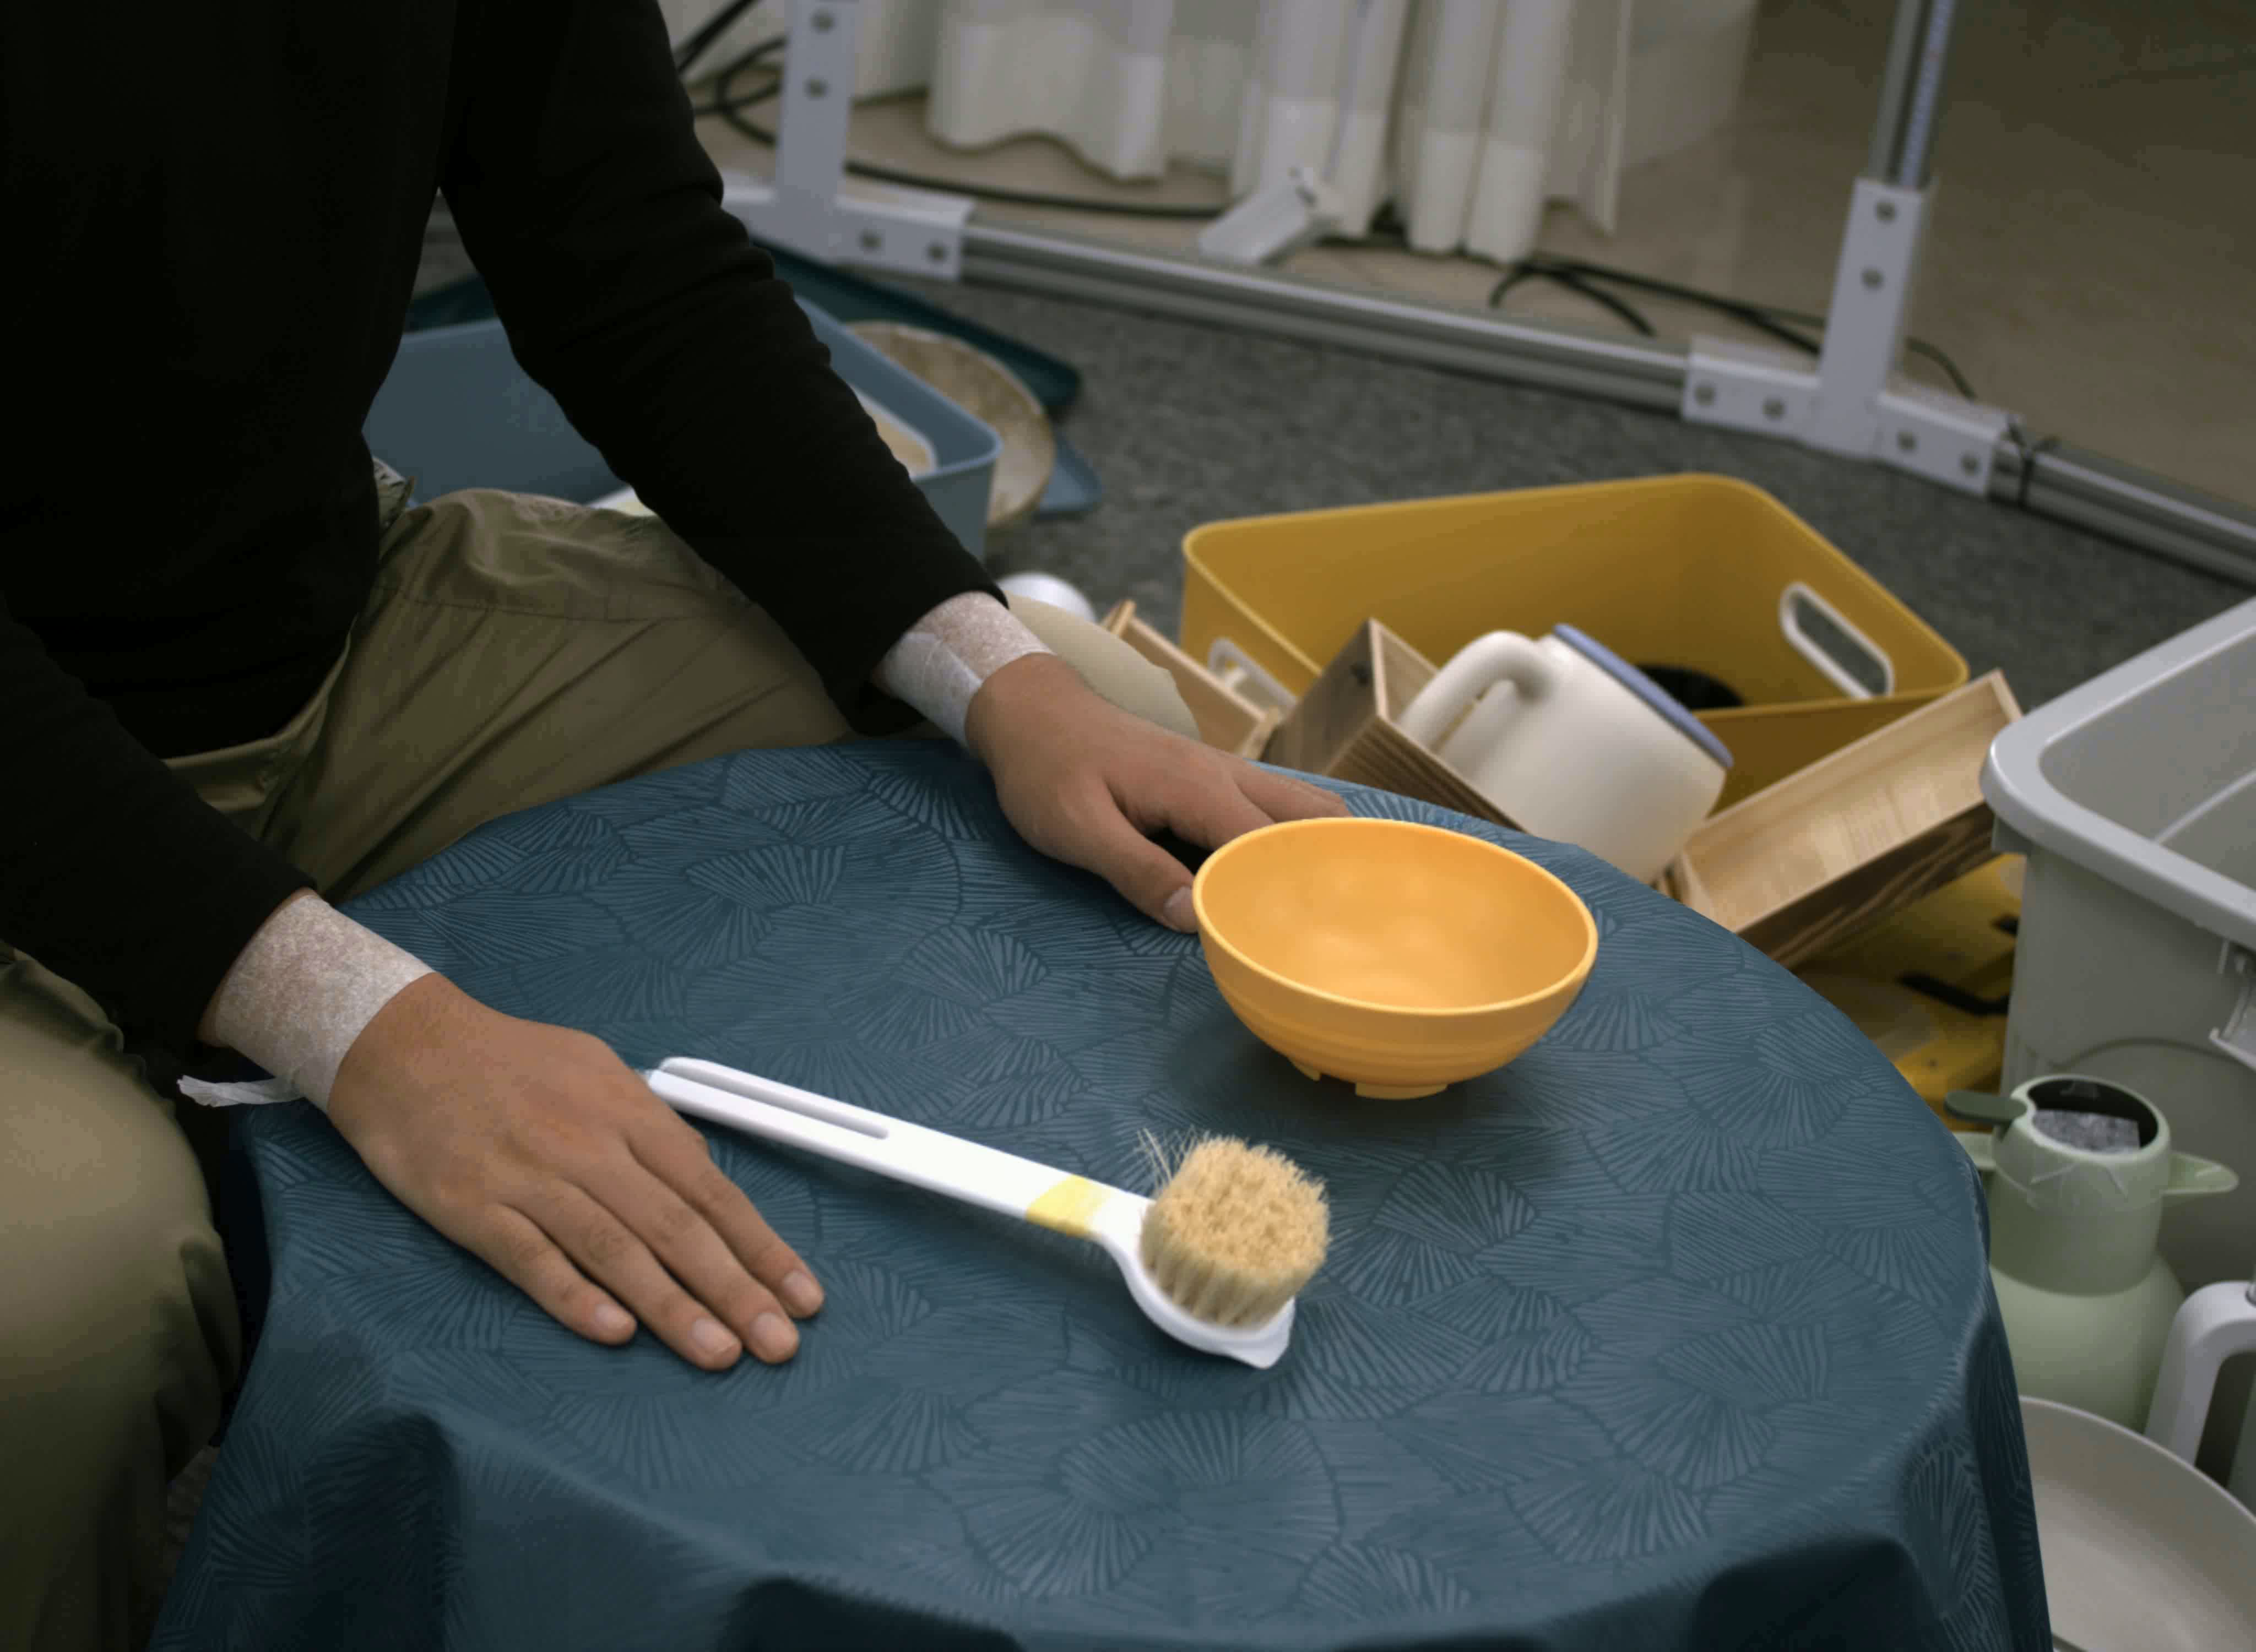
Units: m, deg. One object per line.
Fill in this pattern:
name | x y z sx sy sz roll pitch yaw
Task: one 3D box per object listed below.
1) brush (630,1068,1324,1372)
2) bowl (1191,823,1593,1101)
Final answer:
brush | -0.055 0.108 1.761 0.268 0.056 0.068 21 25 28
bowl | 0.090 0.056 1.890 0.145 0.060 0.146 6 25 -3
